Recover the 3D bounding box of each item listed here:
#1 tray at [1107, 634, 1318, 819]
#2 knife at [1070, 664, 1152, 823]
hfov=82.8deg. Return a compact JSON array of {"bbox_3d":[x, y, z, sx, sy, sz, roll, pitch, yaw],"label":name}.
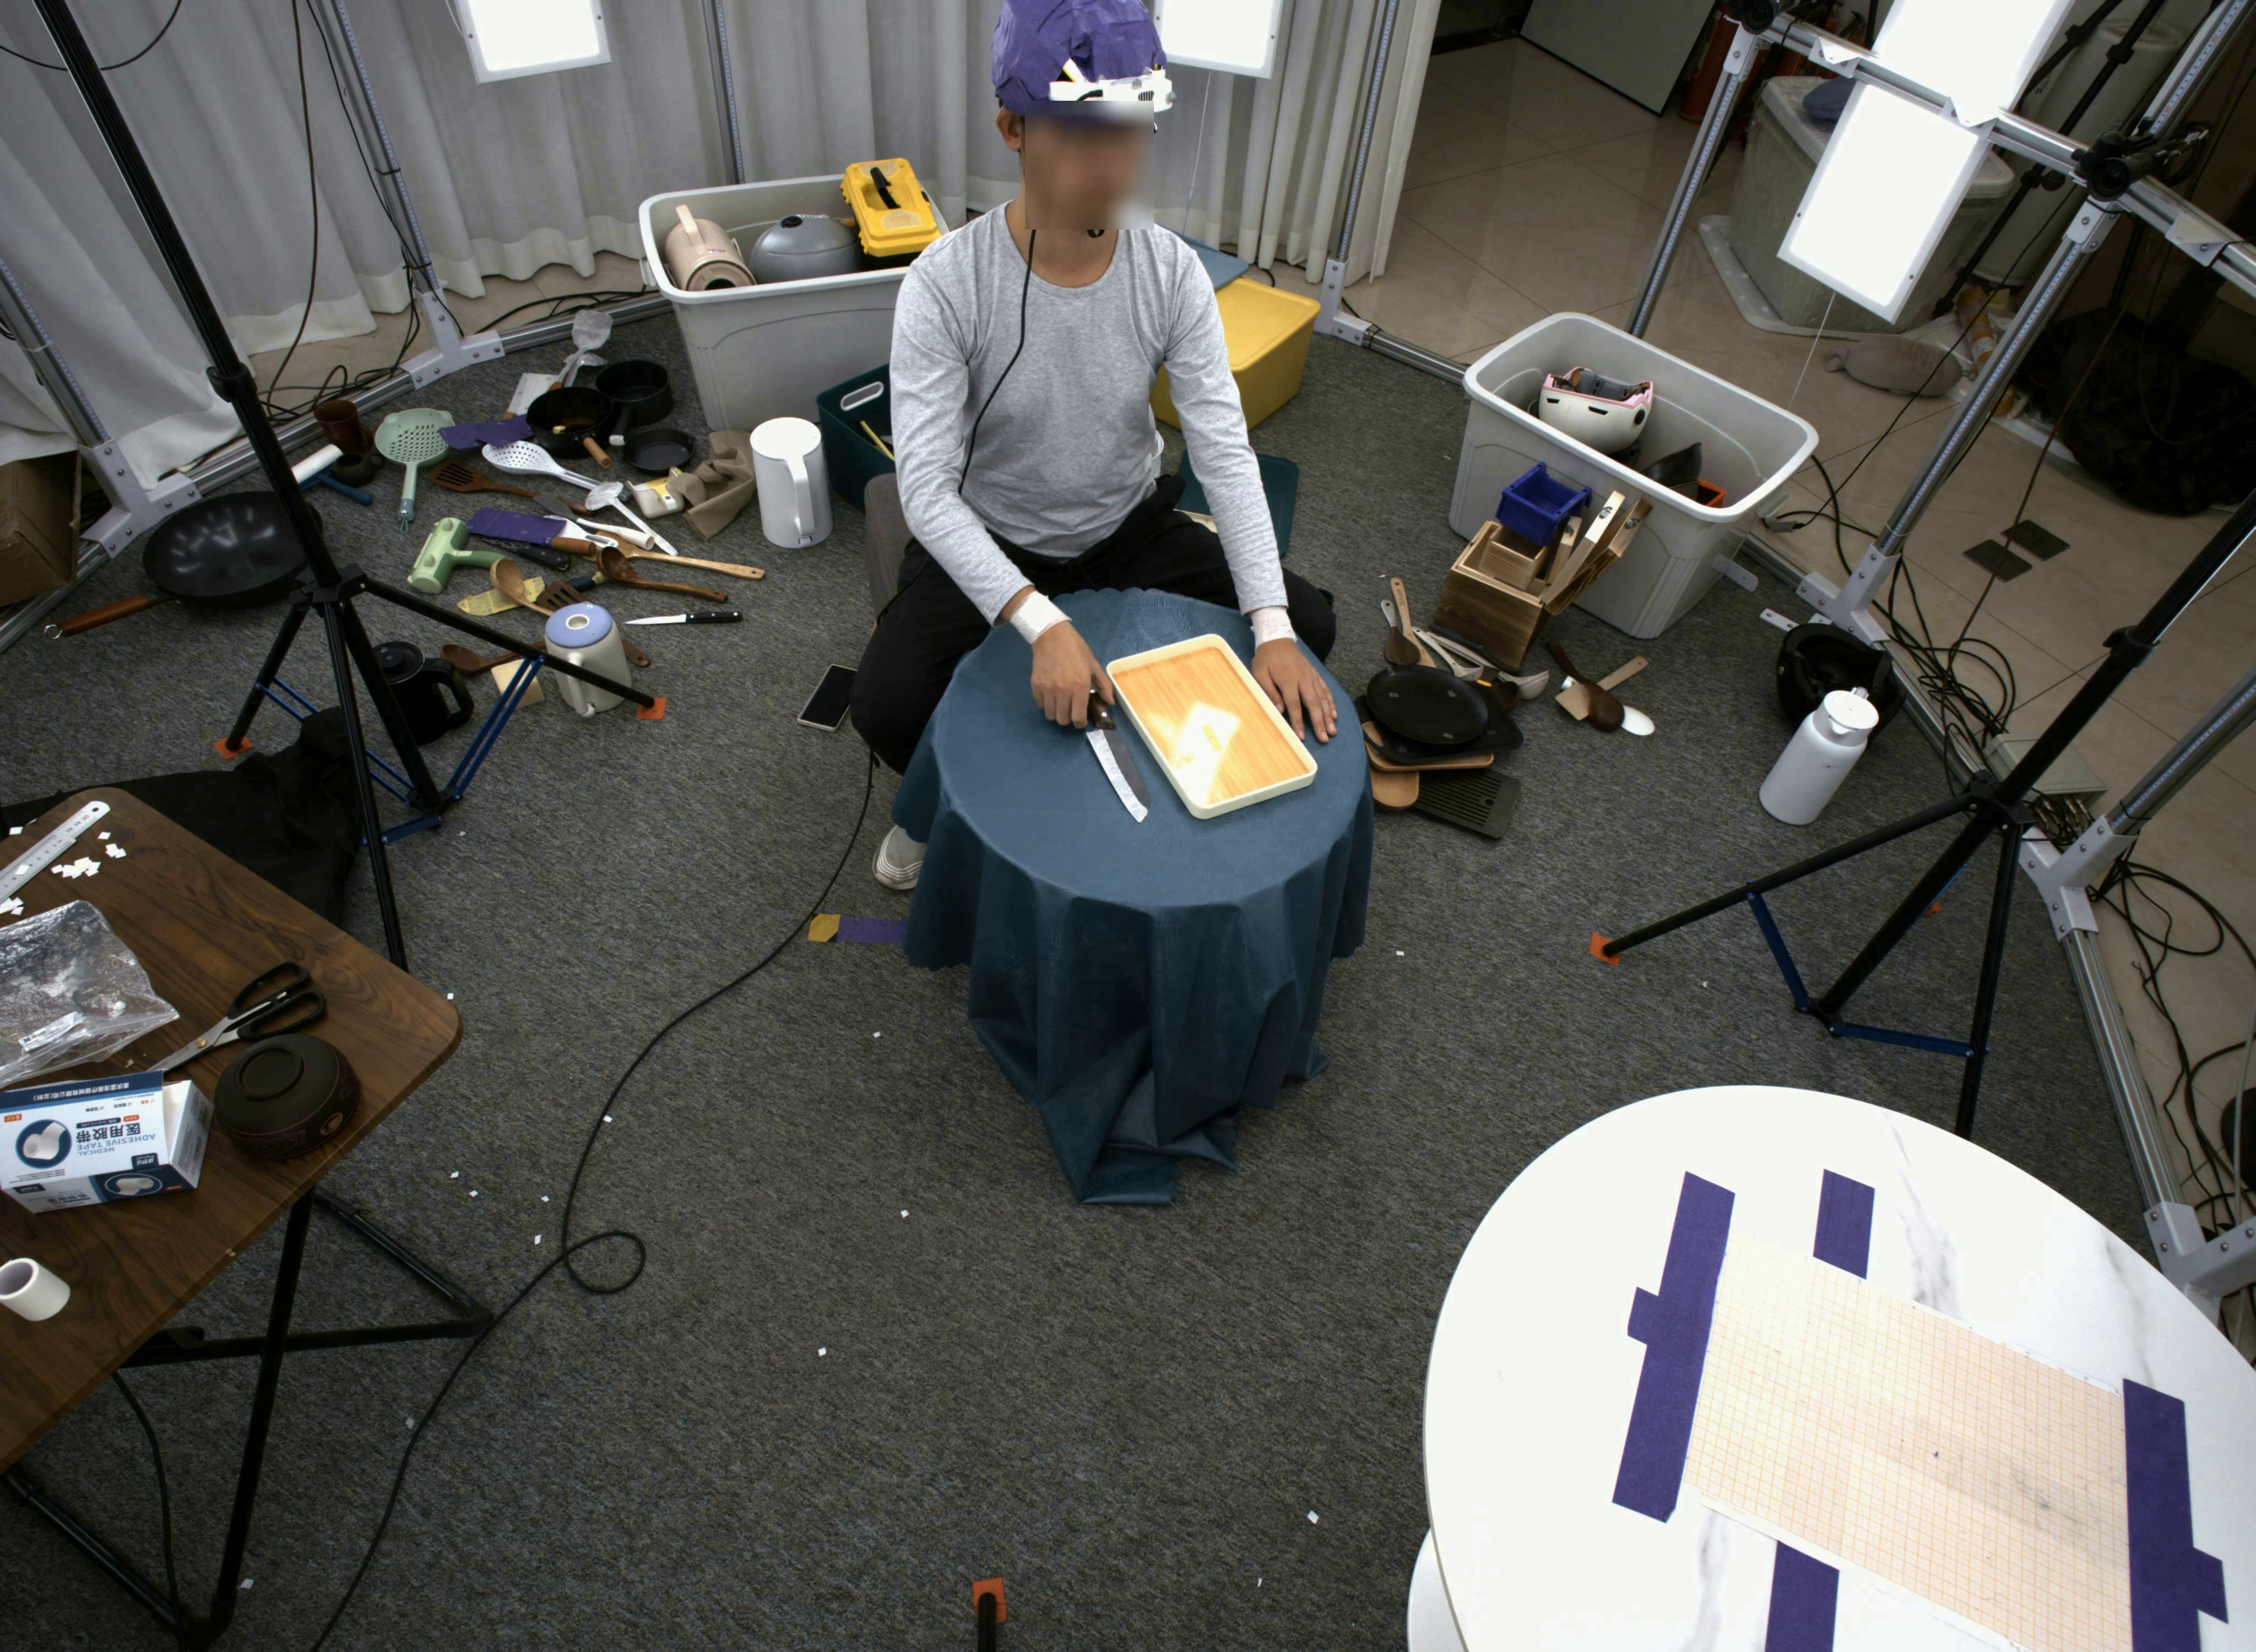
[{"bbox_3d":[0.112,-0.145,1.784,0.192,0.027,0.307,-17,52,-18],"label":"tray"},{"bbox_3d":[-0.027,-0.116,1.756,0.050,0.019,0.296,-12,54,-14],"label":"knife"}]
